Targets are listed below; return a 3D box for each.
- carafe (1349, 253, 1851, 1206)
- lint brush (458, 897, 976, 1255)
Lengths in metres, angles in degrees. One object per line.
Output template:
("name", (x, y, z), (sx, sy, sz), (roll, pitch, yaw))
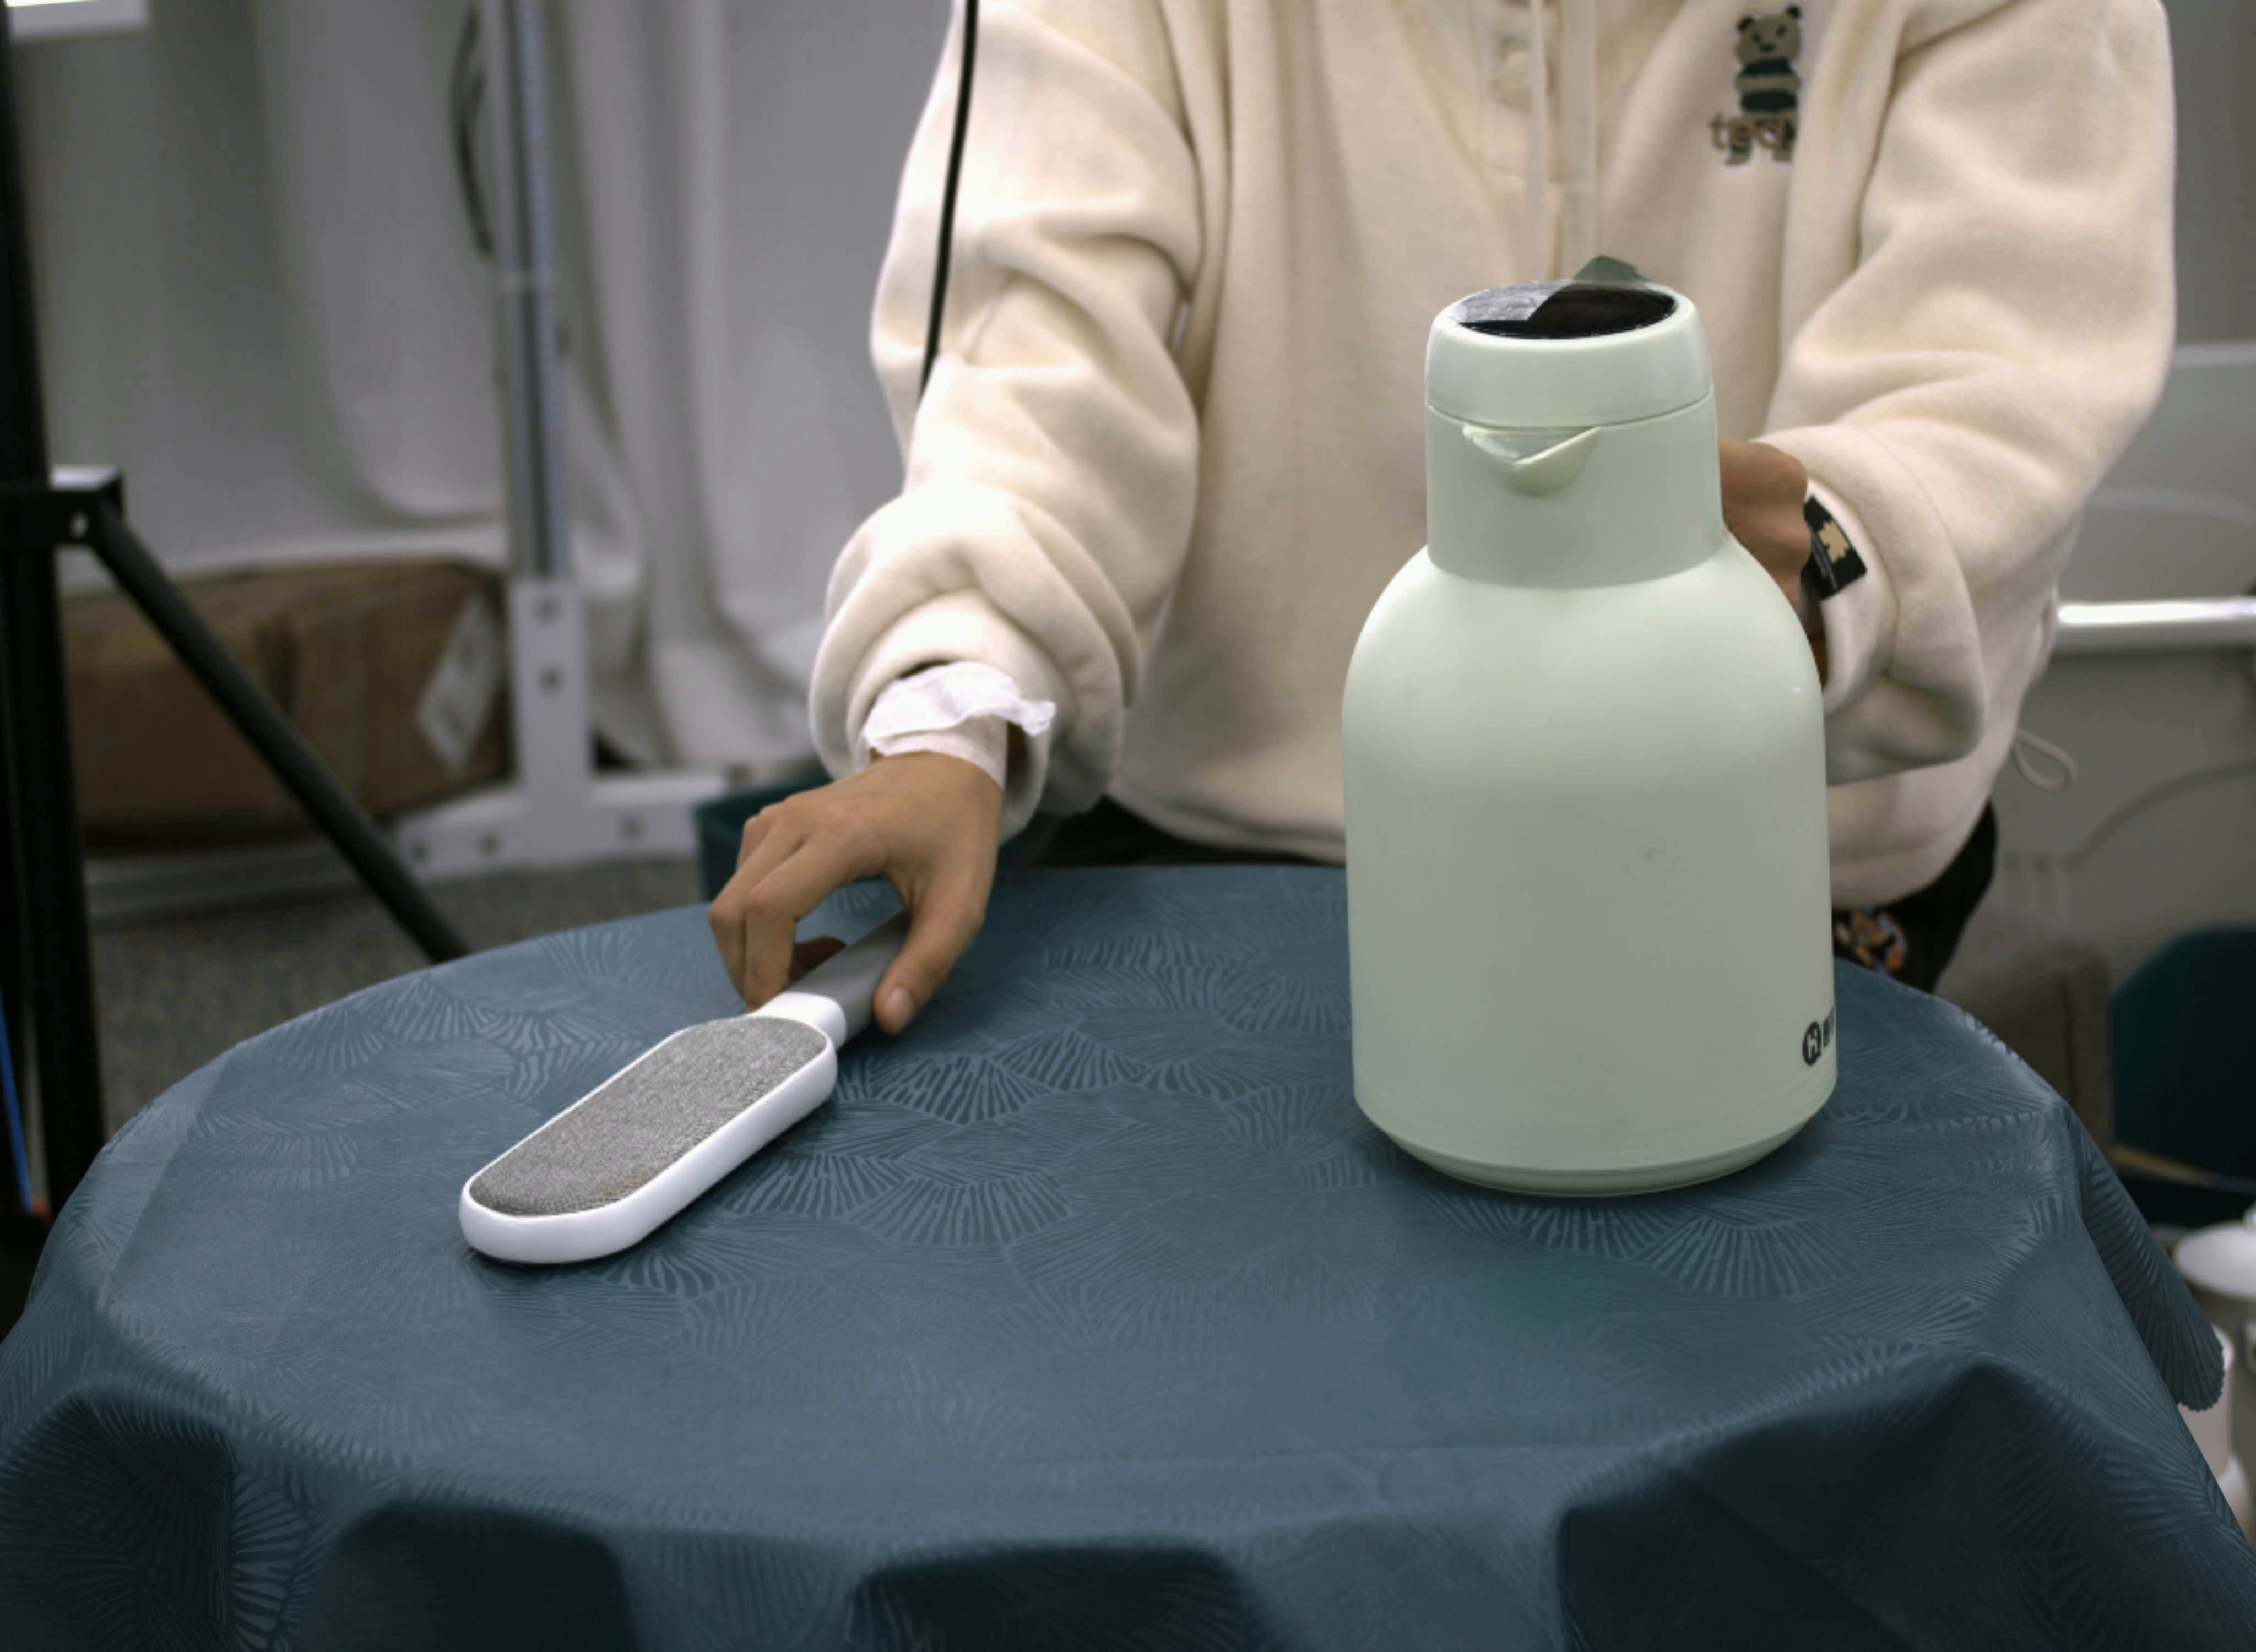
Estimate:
("carafe", (0.140, -0.032, 1.559), (0.146, 0.257, 0.184), (2, 16, 23))
("lint brush", (-0.116, 0.074, 1.647), (0.061, 0.021, 0.305), (3, 17, 23))
